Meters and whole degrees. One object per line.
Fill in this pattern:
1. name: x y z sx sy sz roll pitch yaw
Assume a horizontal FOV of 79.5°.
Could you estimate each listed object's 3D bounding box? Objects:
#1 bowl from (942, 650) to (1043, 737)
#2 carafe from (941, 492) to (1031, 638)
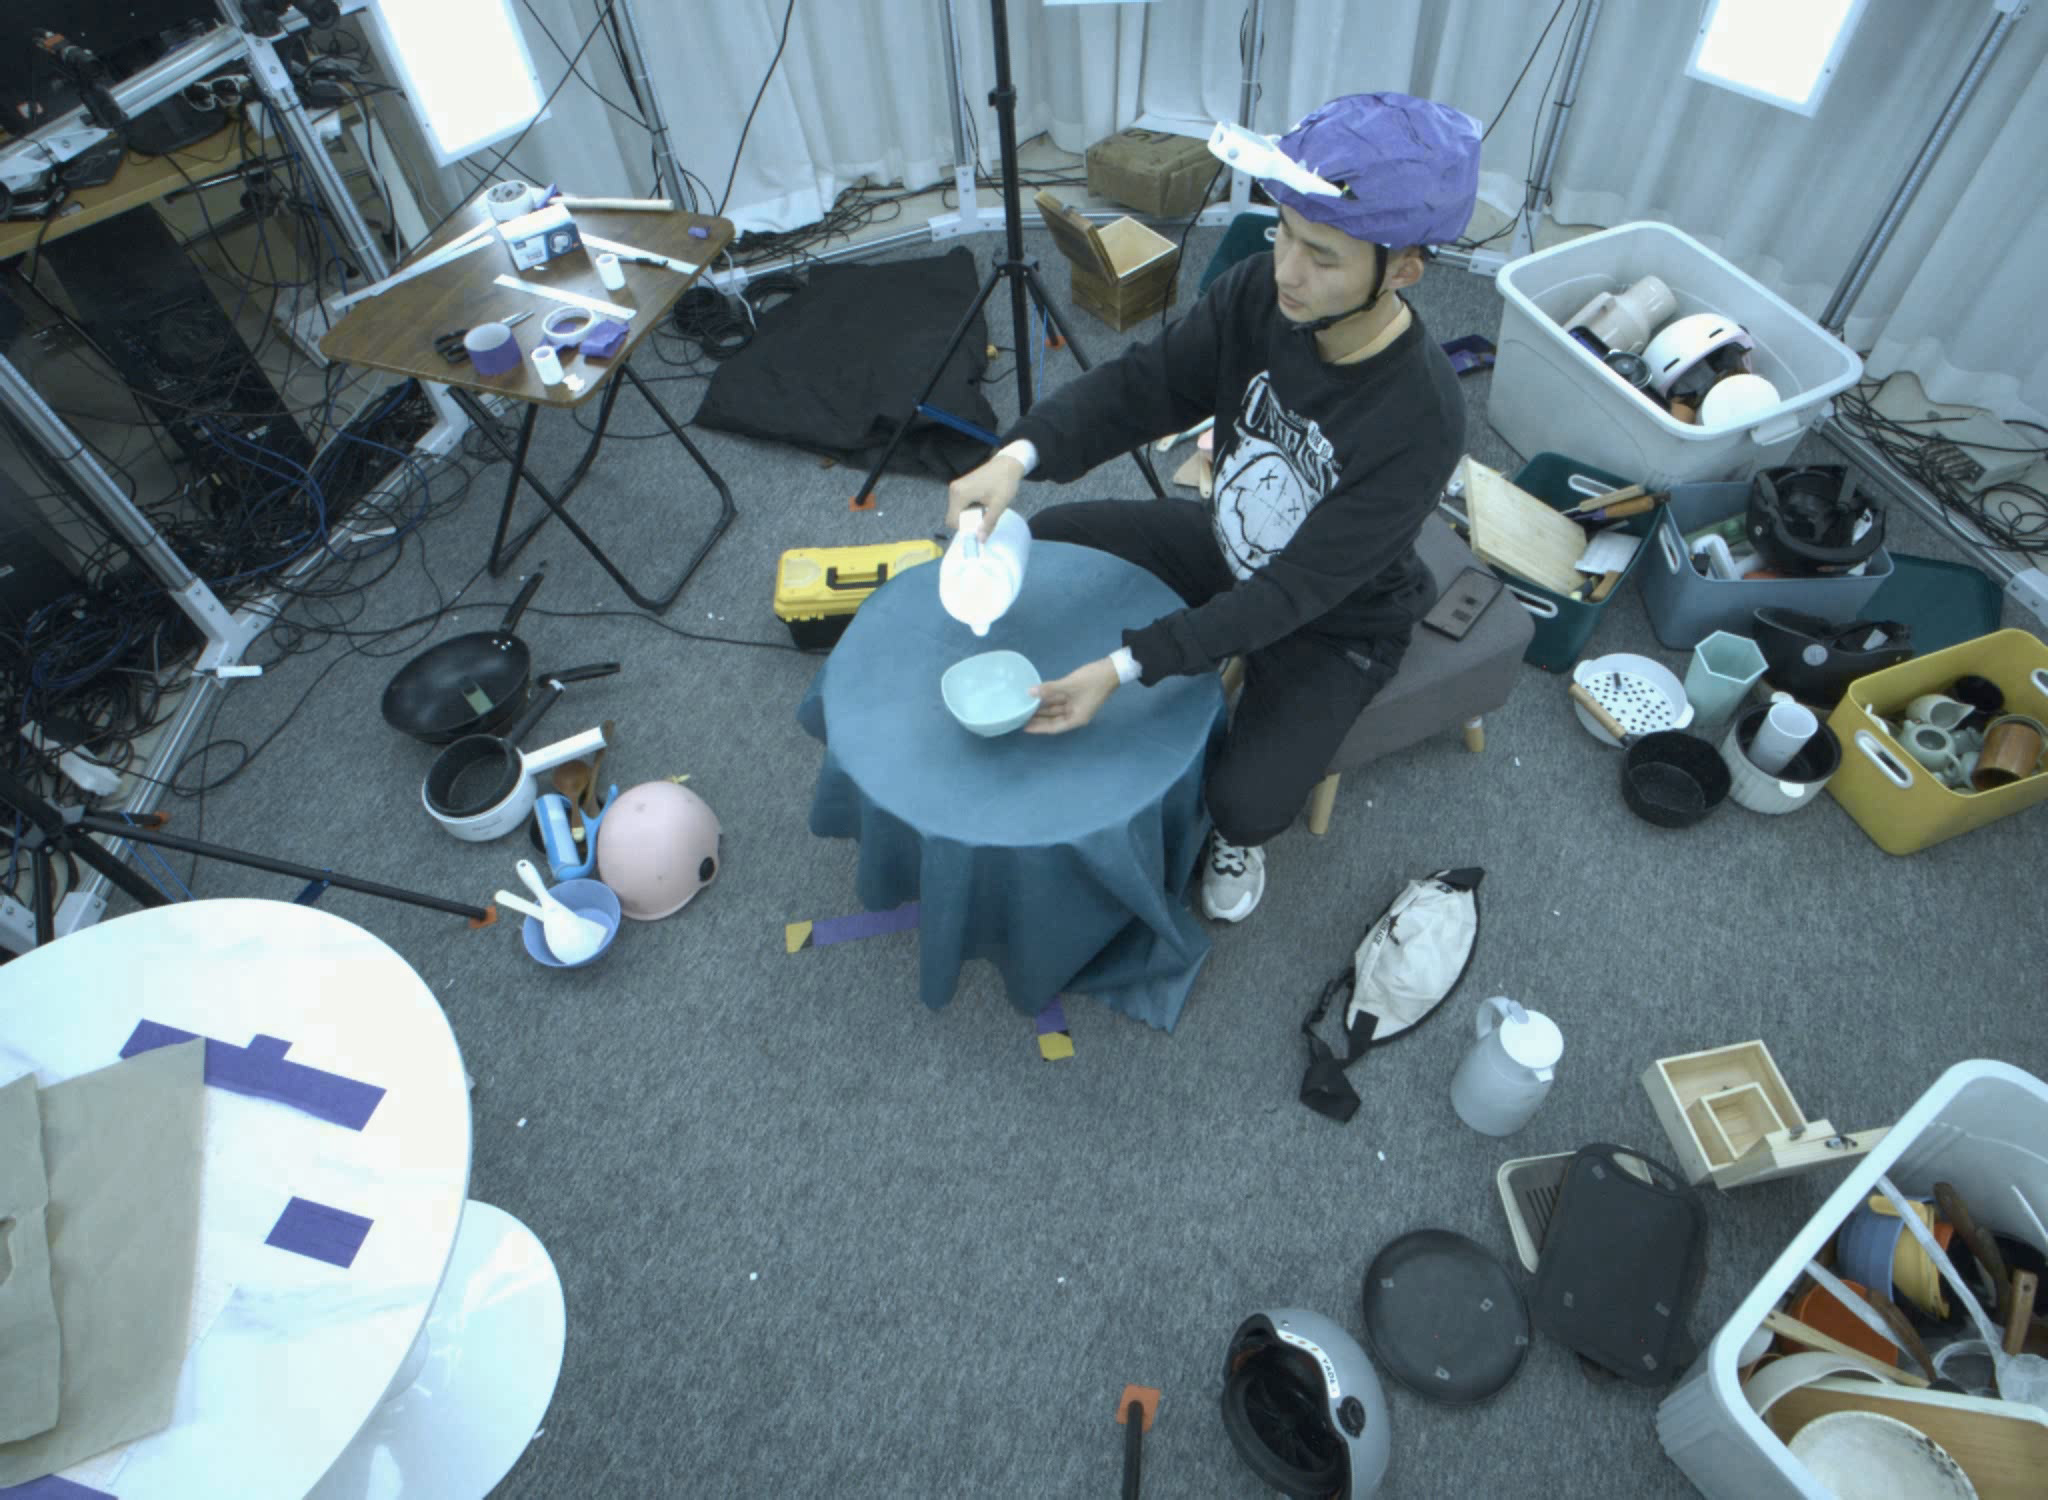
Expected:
1. bowl: -0.044 -0.072 1.766 0.151 0.059 0.150 -1 49 3
2. carafe: -0.059 -0.287 1.773 0.123 0.174 0.267 -3 26 8
